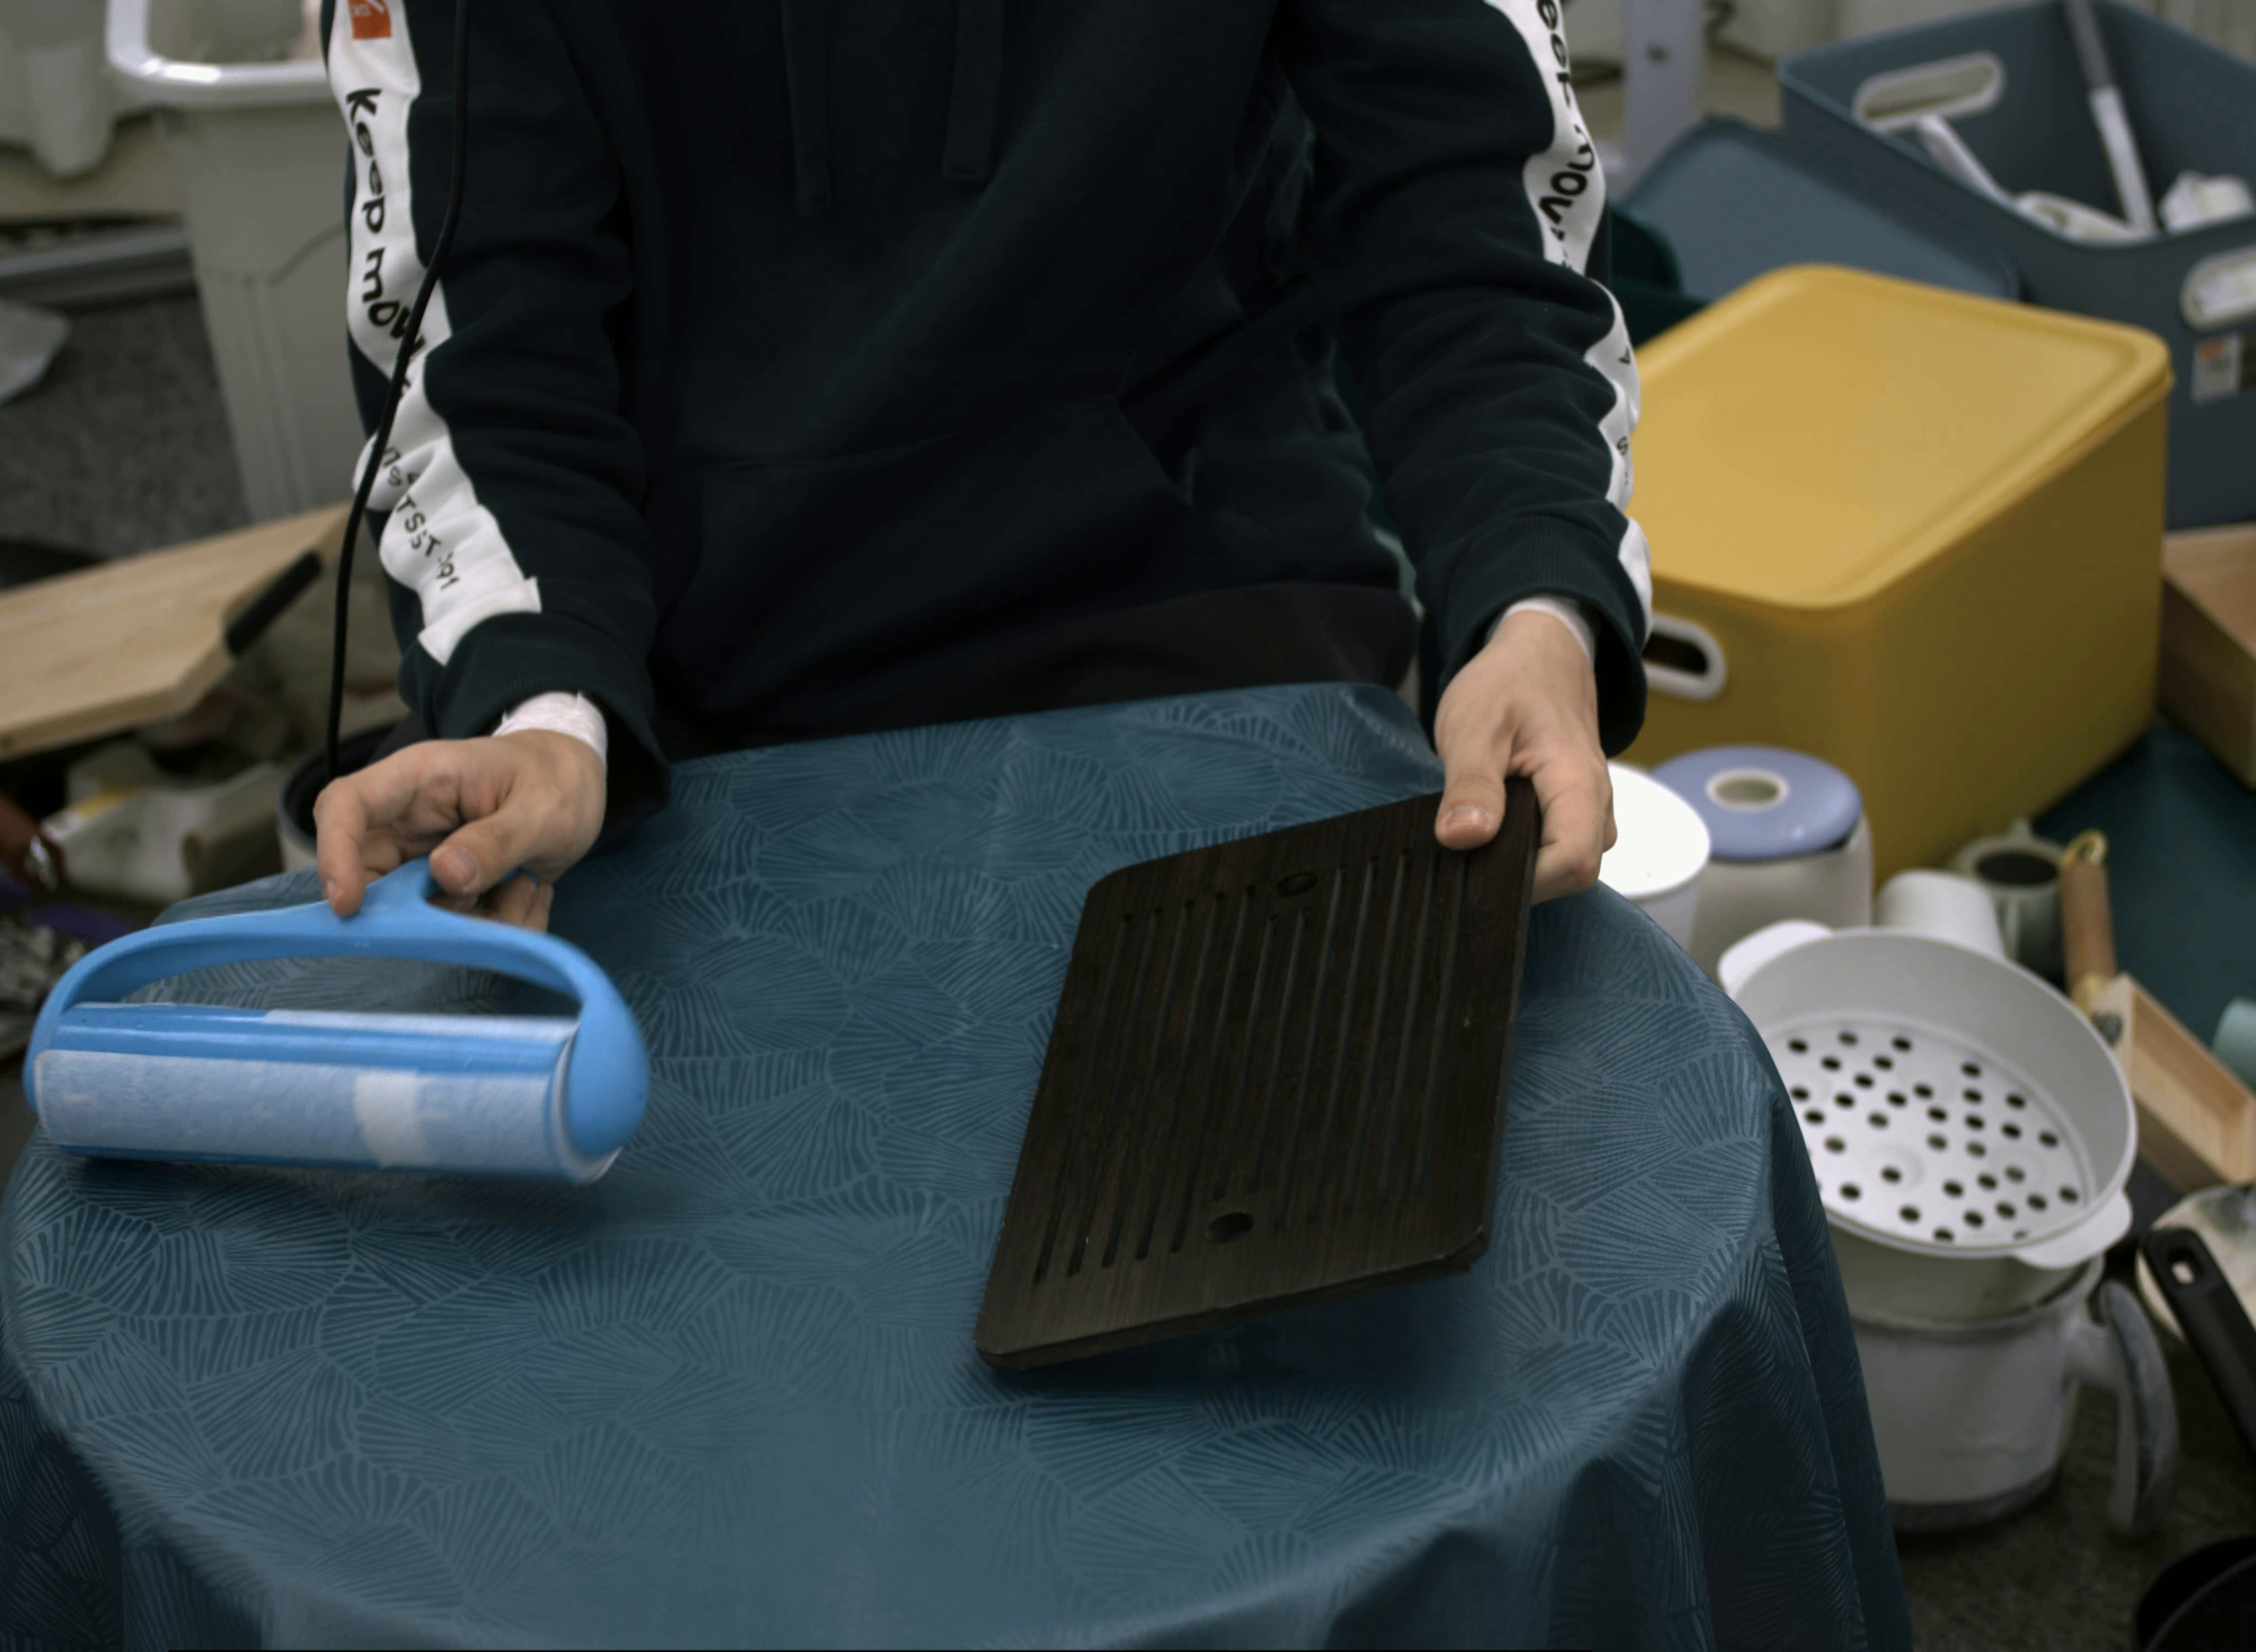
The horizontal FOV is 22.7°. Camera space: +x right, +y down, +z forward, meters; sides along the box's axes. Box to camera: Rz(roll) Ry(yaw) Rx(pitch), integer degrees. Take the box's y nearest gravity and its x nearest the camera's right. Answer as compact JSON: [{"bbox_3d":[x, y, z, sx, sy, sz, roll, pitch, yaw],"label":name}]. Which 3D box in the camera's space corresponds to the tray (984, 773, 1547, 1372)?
[{"bbox_3d":[0.052,0.079,1.865,0.168,0.018,0.311,-14,26,15],"label":"tray"}]

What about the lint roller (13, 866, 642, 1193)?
[{"bbox_3d":[-0.253,0.054,1.918,0.227,0.067,0.184,-1,36,19],"label":"lint roller"}]
